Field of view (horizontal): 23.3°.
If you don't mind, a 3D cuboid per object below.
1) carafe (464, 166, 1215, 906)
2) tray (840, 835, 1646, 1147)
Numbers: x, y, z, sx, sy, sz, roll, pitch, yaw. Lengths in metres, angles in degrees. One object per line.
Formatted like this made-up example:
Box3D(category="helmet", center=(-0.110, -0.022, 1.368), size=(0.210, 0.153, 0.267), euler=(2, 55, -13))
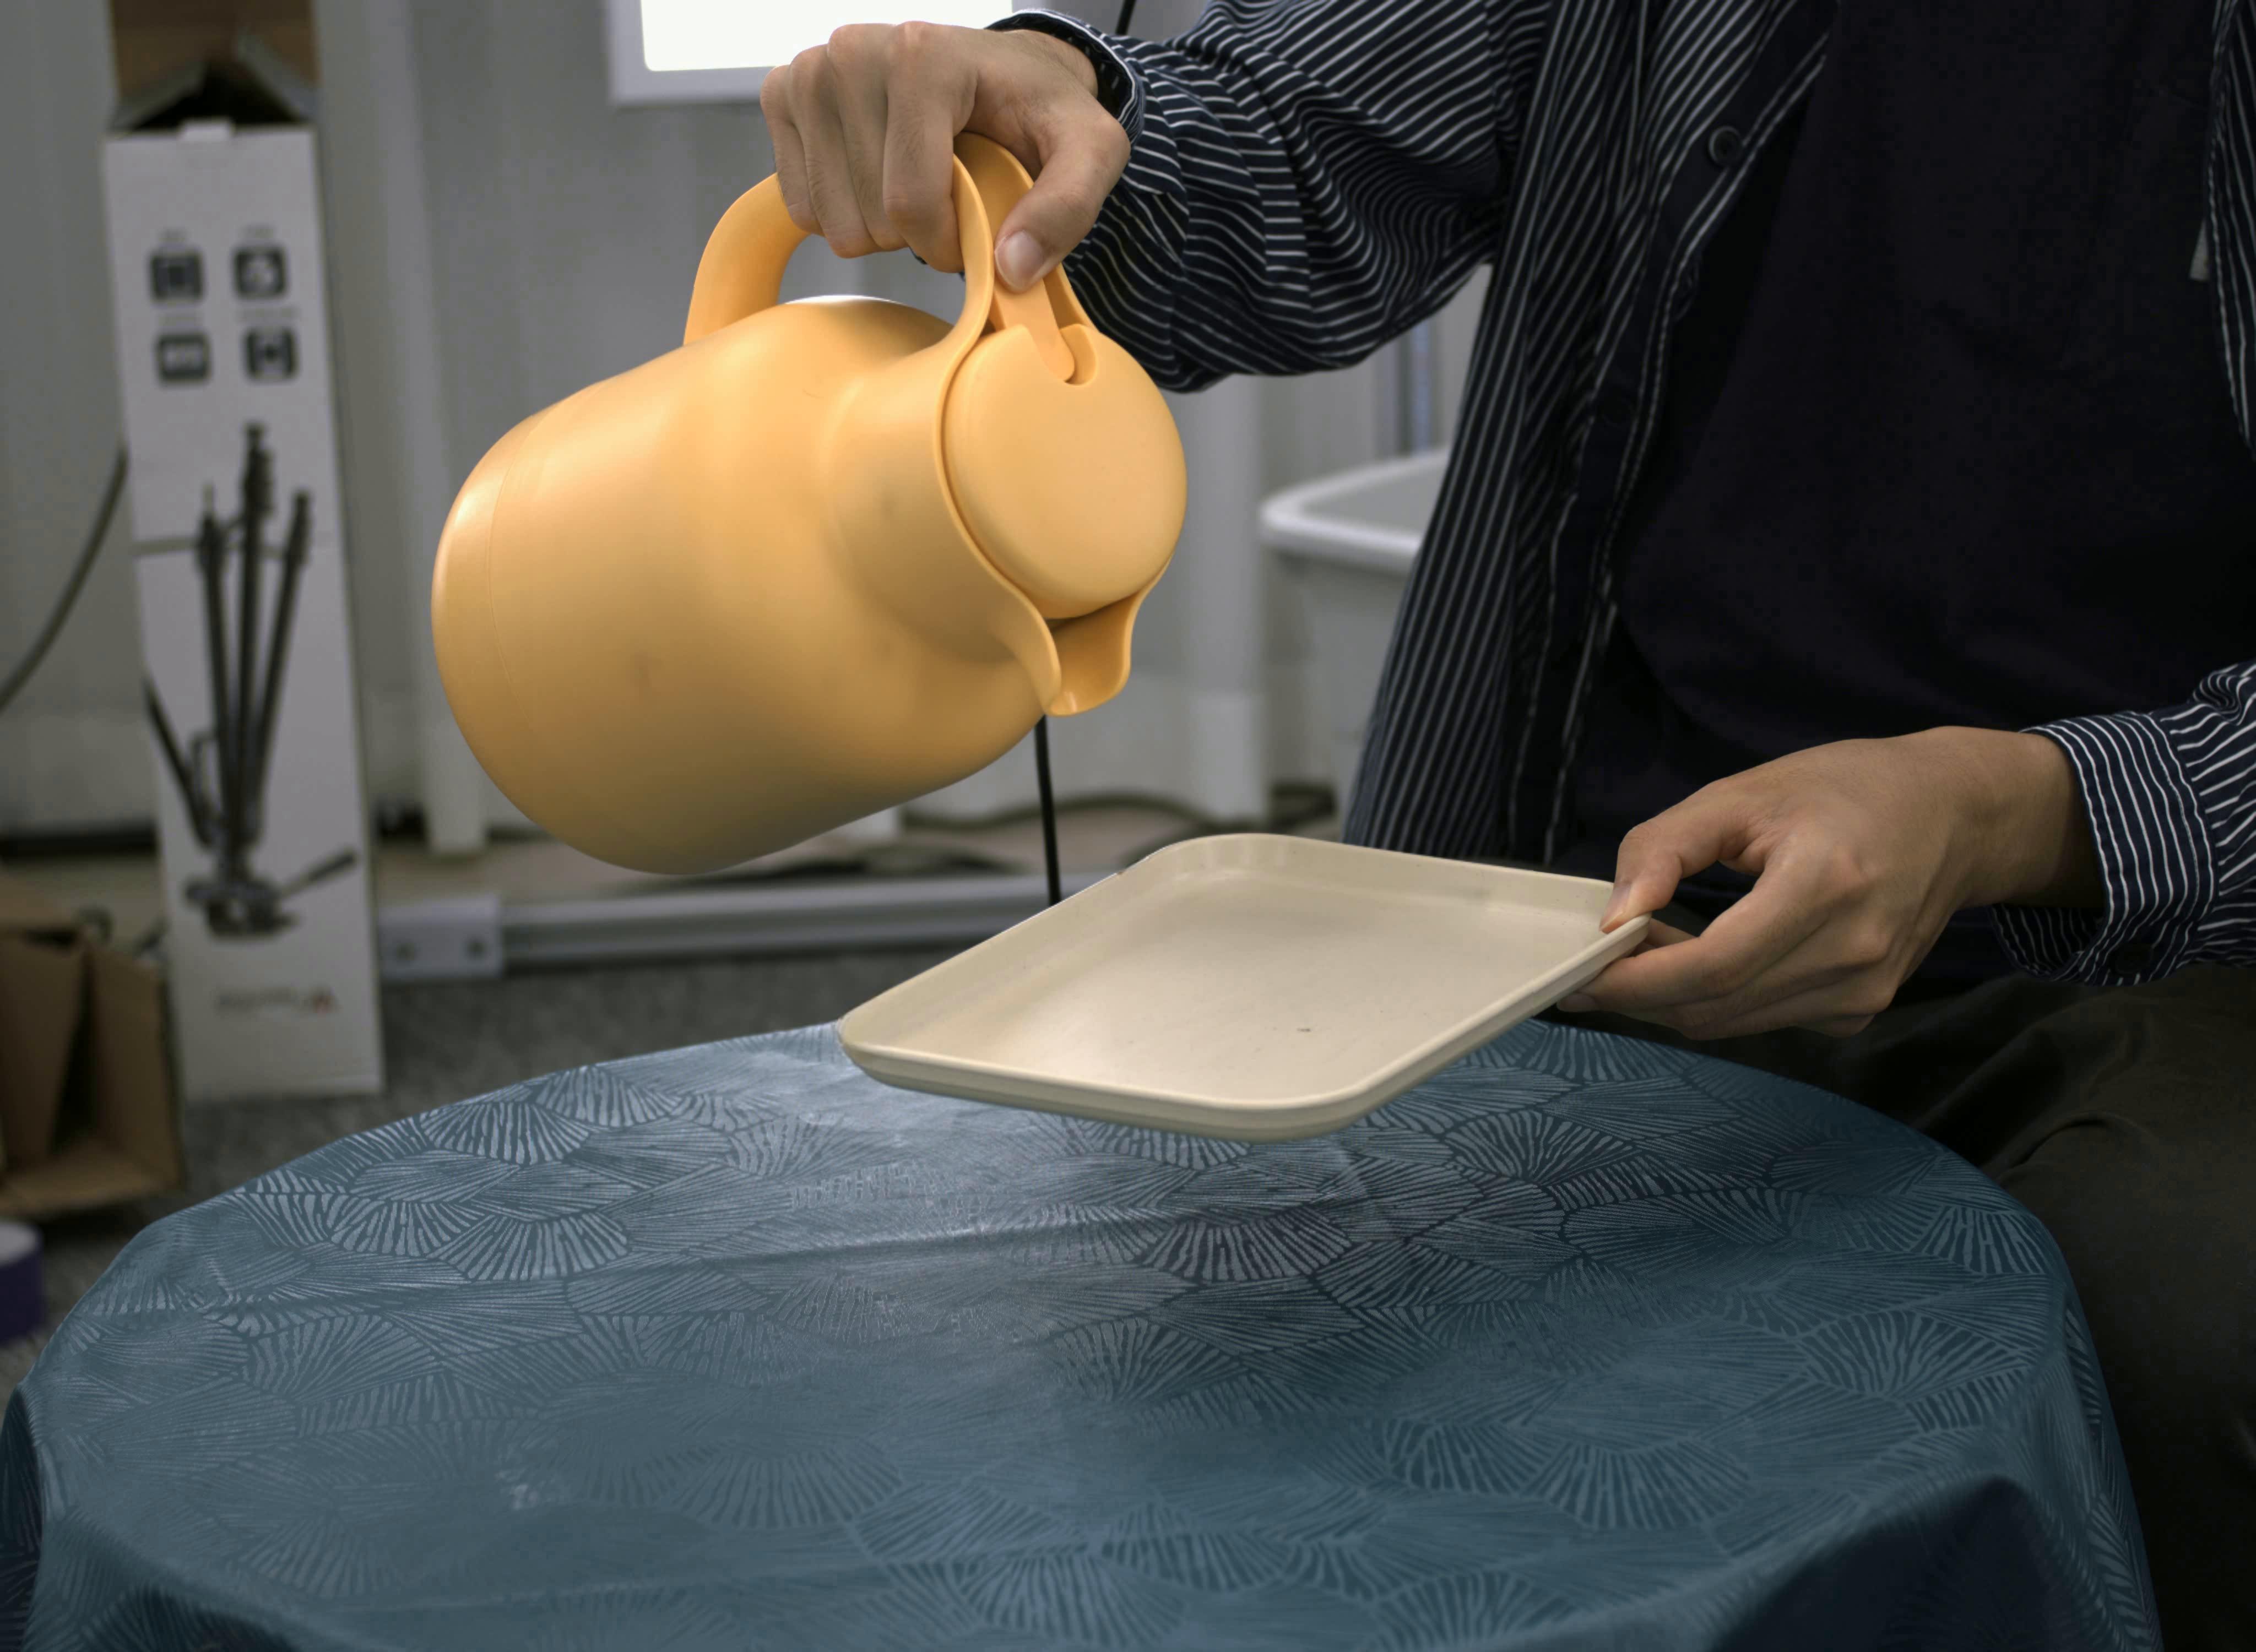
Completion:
Box3D(category="carafe", center=(-0.087, -0.093, 1.736), size=(0.162, 0.204, 0.260), euler=(-4, -10, -43))
Box3D(category="tray", center=(0.038, 0.048, 1.626), size=(0.172, 0.017, 0.240), euler=(8, 18, 30))
